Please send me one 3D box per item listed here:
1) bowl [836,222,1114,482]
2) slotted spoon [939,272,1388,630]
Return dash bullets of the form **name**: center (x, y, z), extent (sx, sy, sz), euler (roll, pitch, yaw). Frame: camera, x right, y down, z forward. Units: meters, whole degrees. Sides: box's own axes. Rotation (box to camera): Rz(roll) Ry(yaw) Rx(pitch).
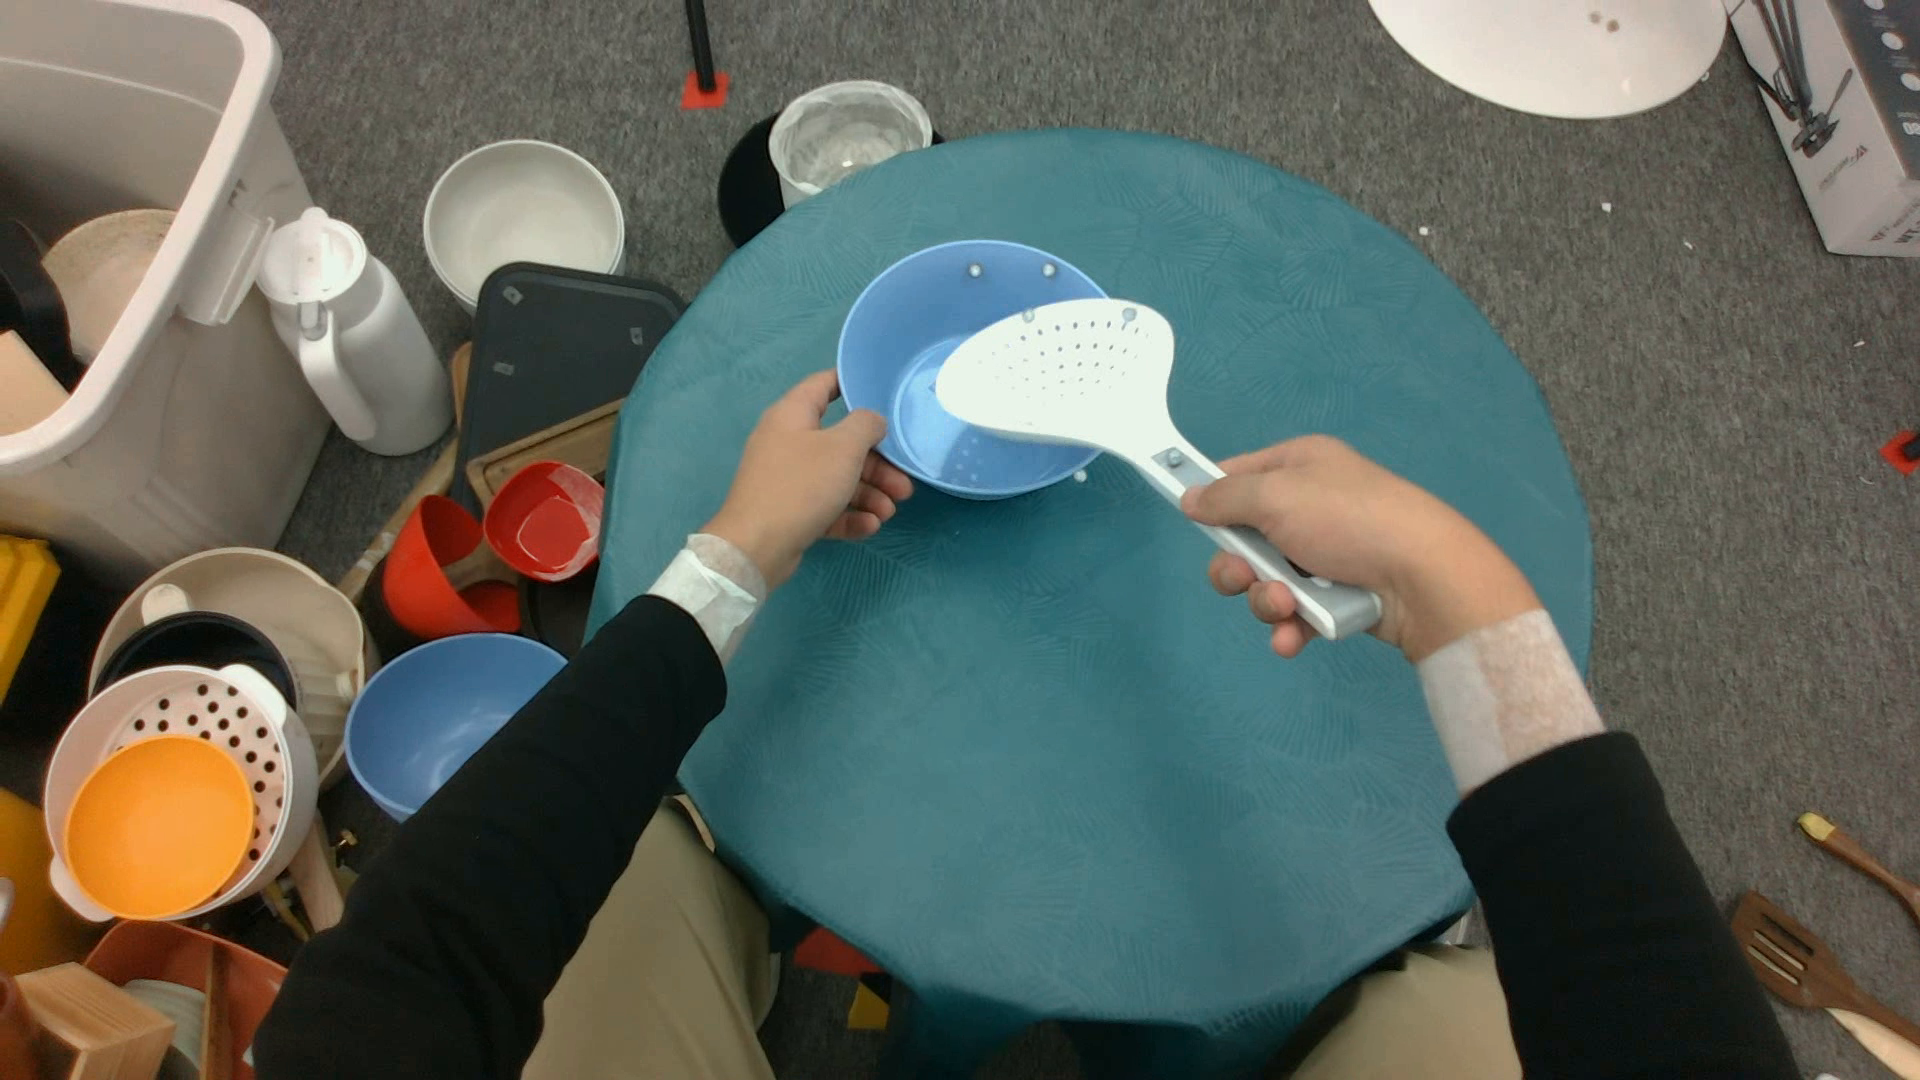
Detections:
- **bowl**: center (0.011, -0.102, 0.832), extent (0.176, 0.070, 0.176), euler (3, 65, -6)
- **slotted spoon**: center (0.097, -0.057, 0.687), extent (0.136, 0.045, 0.350), euler (-23, 32, -12)
